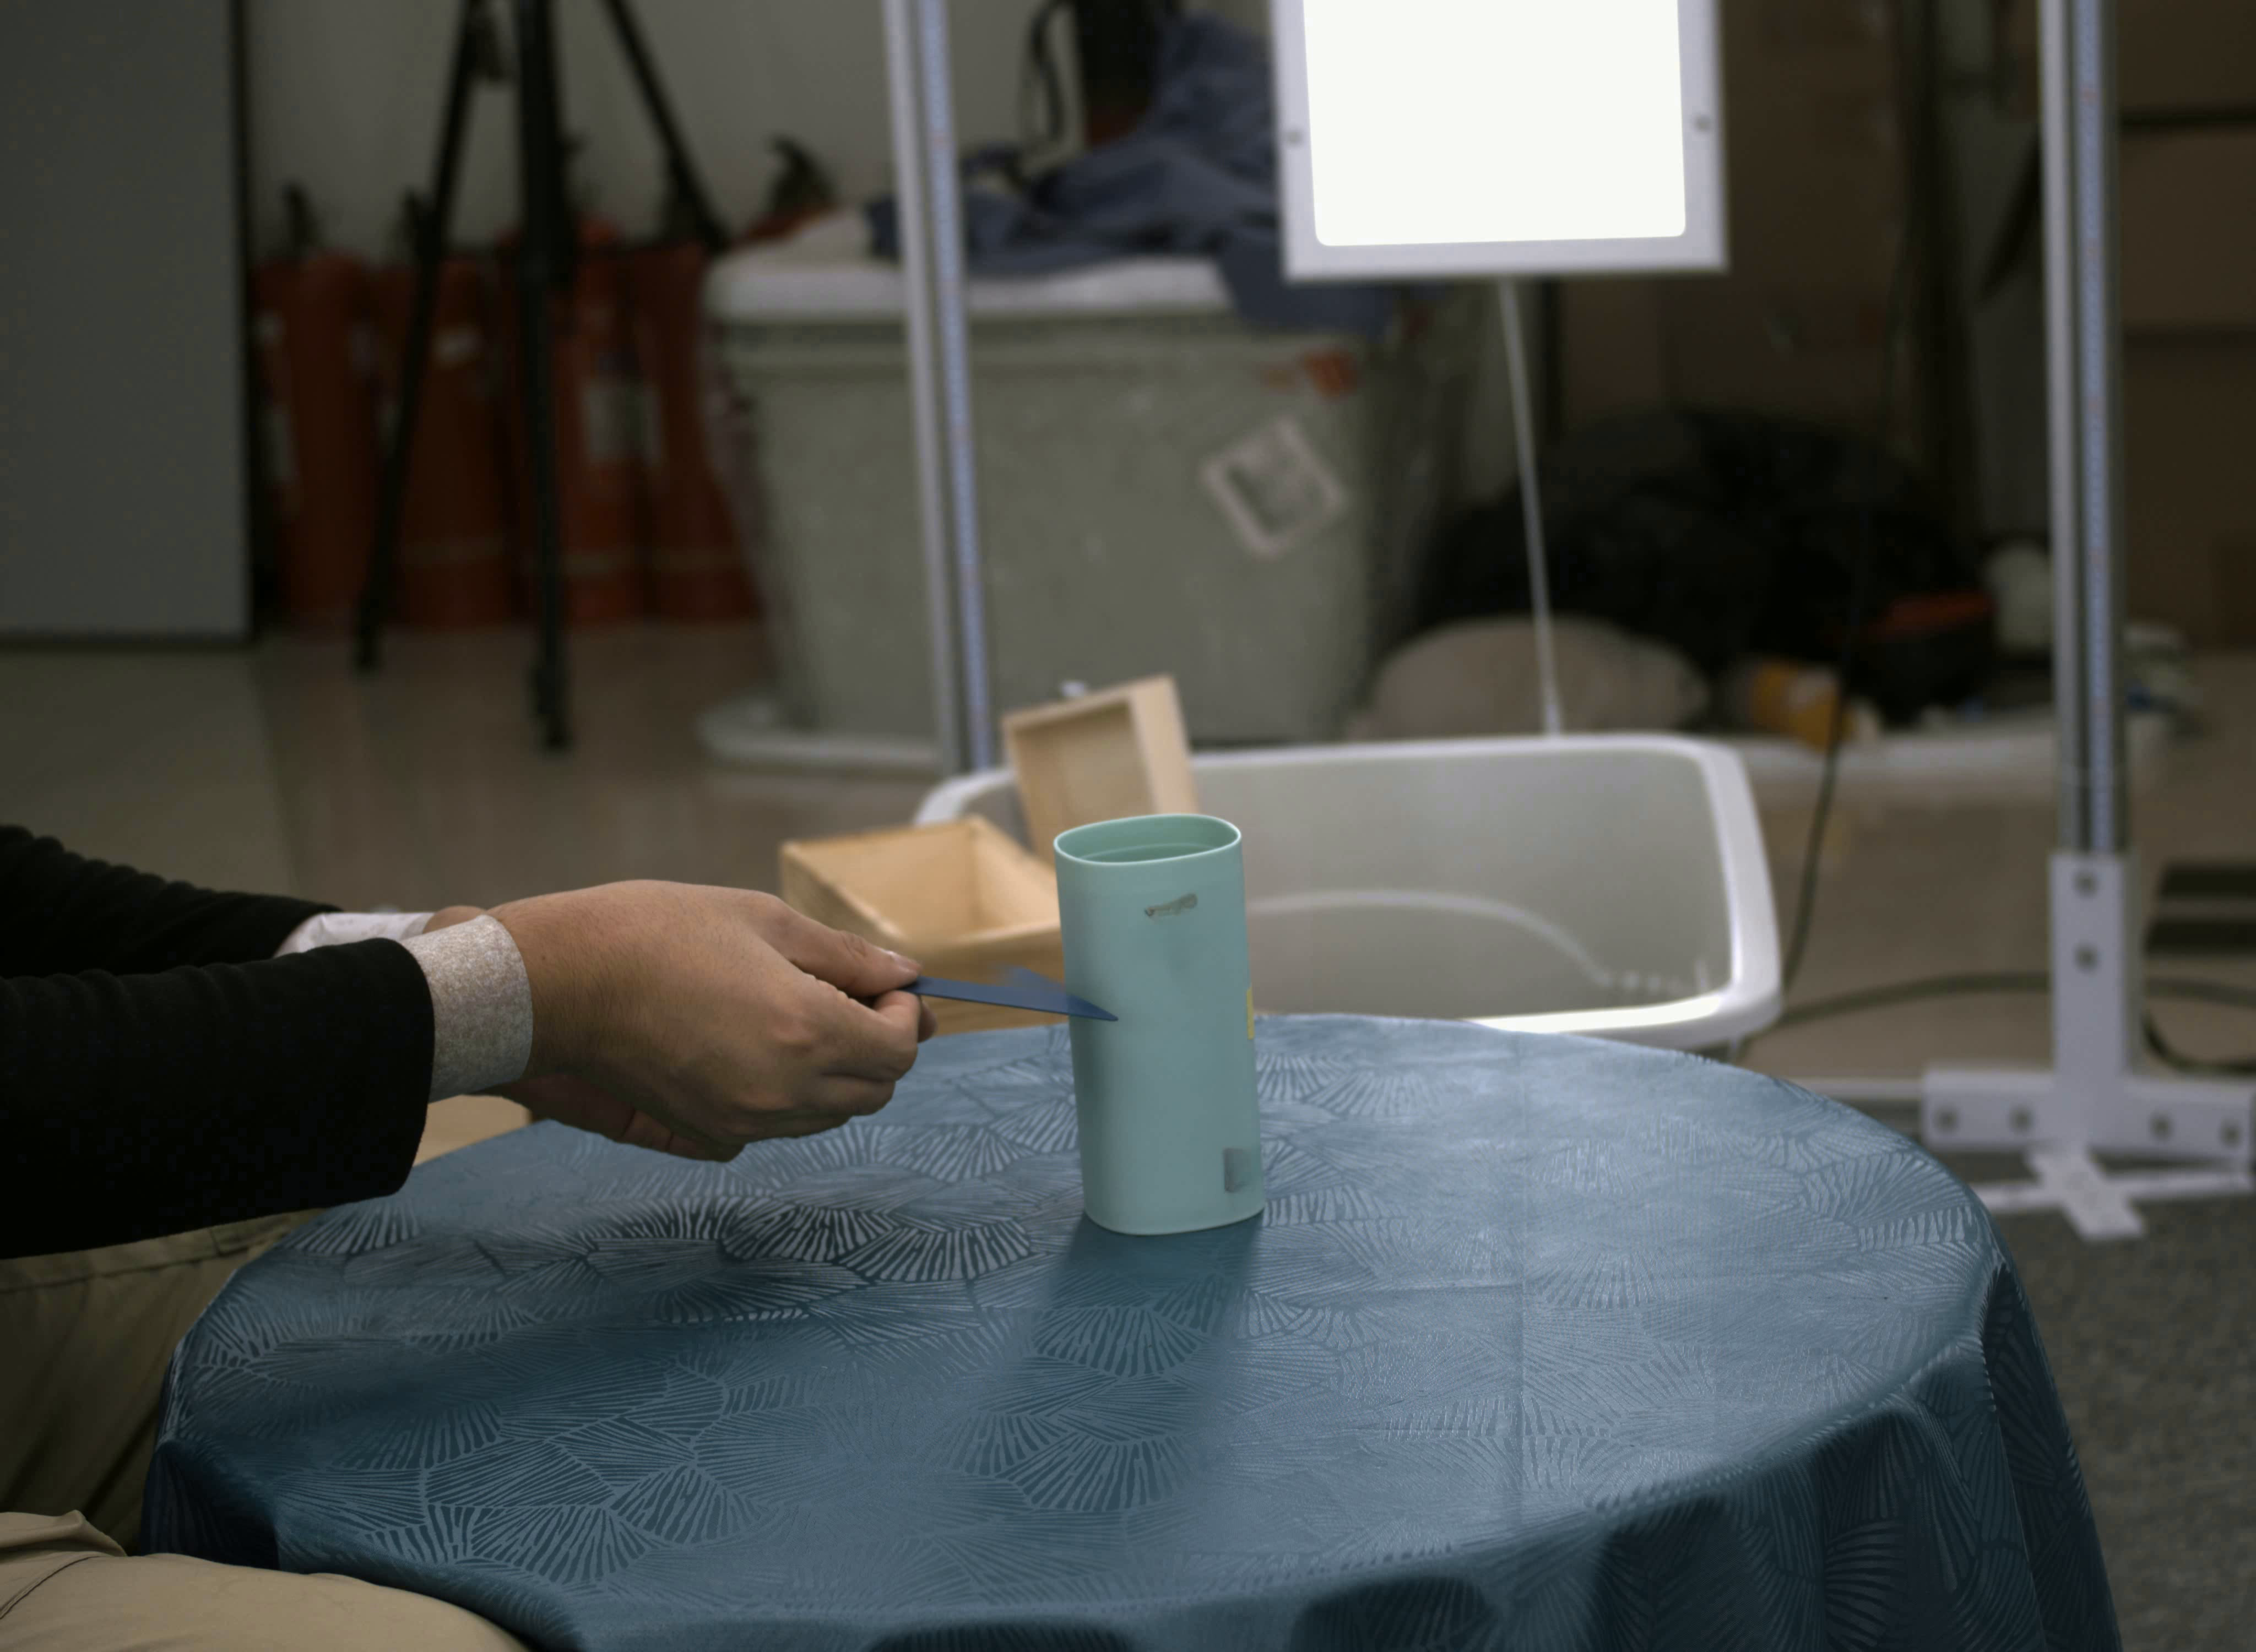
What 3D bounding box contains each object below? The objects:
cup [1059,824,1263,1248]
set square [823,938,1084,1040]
[{"bbox_3d":[0.010,0.070,1.863,0.066,0.133,0.066,-4,14,0],"label":"cup"},{"bbox_3d":[-0.062,0.057,1.847,0.060,0.006,0.134,-10,16,-20],"label":"set square"}]
